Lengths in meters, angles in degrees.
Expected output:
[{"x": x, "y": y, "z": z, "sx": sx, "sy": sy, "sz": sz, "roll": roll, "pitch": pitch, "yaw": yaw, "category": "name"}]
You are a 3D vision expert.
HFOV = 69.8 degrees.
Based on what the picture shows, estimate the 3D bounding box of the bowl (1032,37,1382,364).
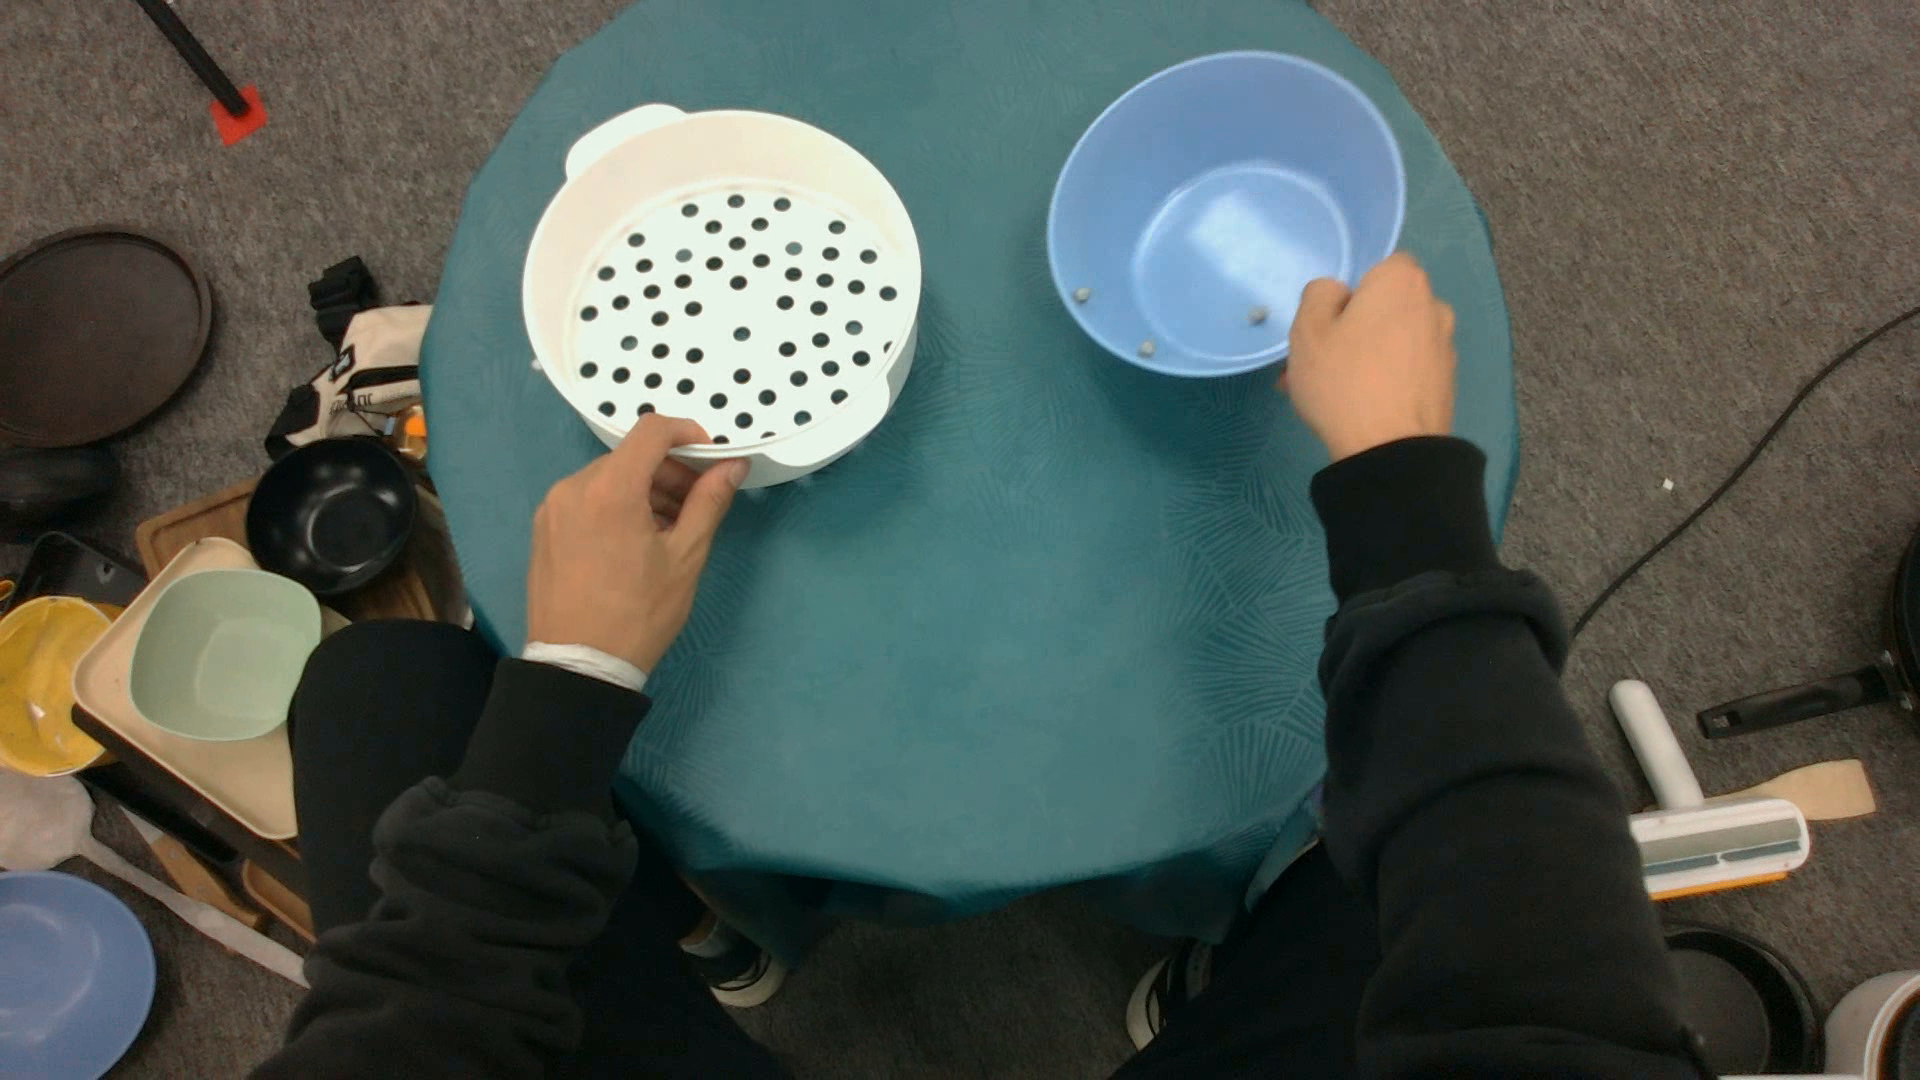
[{"x": 0.130, "y": -0.163, "z": 0.712, "sx": 0.175, "sy": 0.070, "sz": 0.176, "roll": -6, "pitch": 74, "yaw": 21, "category": "bowl"}]

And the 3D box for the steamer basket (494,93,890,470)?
[{"x": -0.136, "y": -0.134, "z": 0.726, "sx": 0.202, "sy": 0.069, "sz": 0.231, "roll": -34, "pitch": 71, "yaw": -13, "category": "steamer basket"}]
